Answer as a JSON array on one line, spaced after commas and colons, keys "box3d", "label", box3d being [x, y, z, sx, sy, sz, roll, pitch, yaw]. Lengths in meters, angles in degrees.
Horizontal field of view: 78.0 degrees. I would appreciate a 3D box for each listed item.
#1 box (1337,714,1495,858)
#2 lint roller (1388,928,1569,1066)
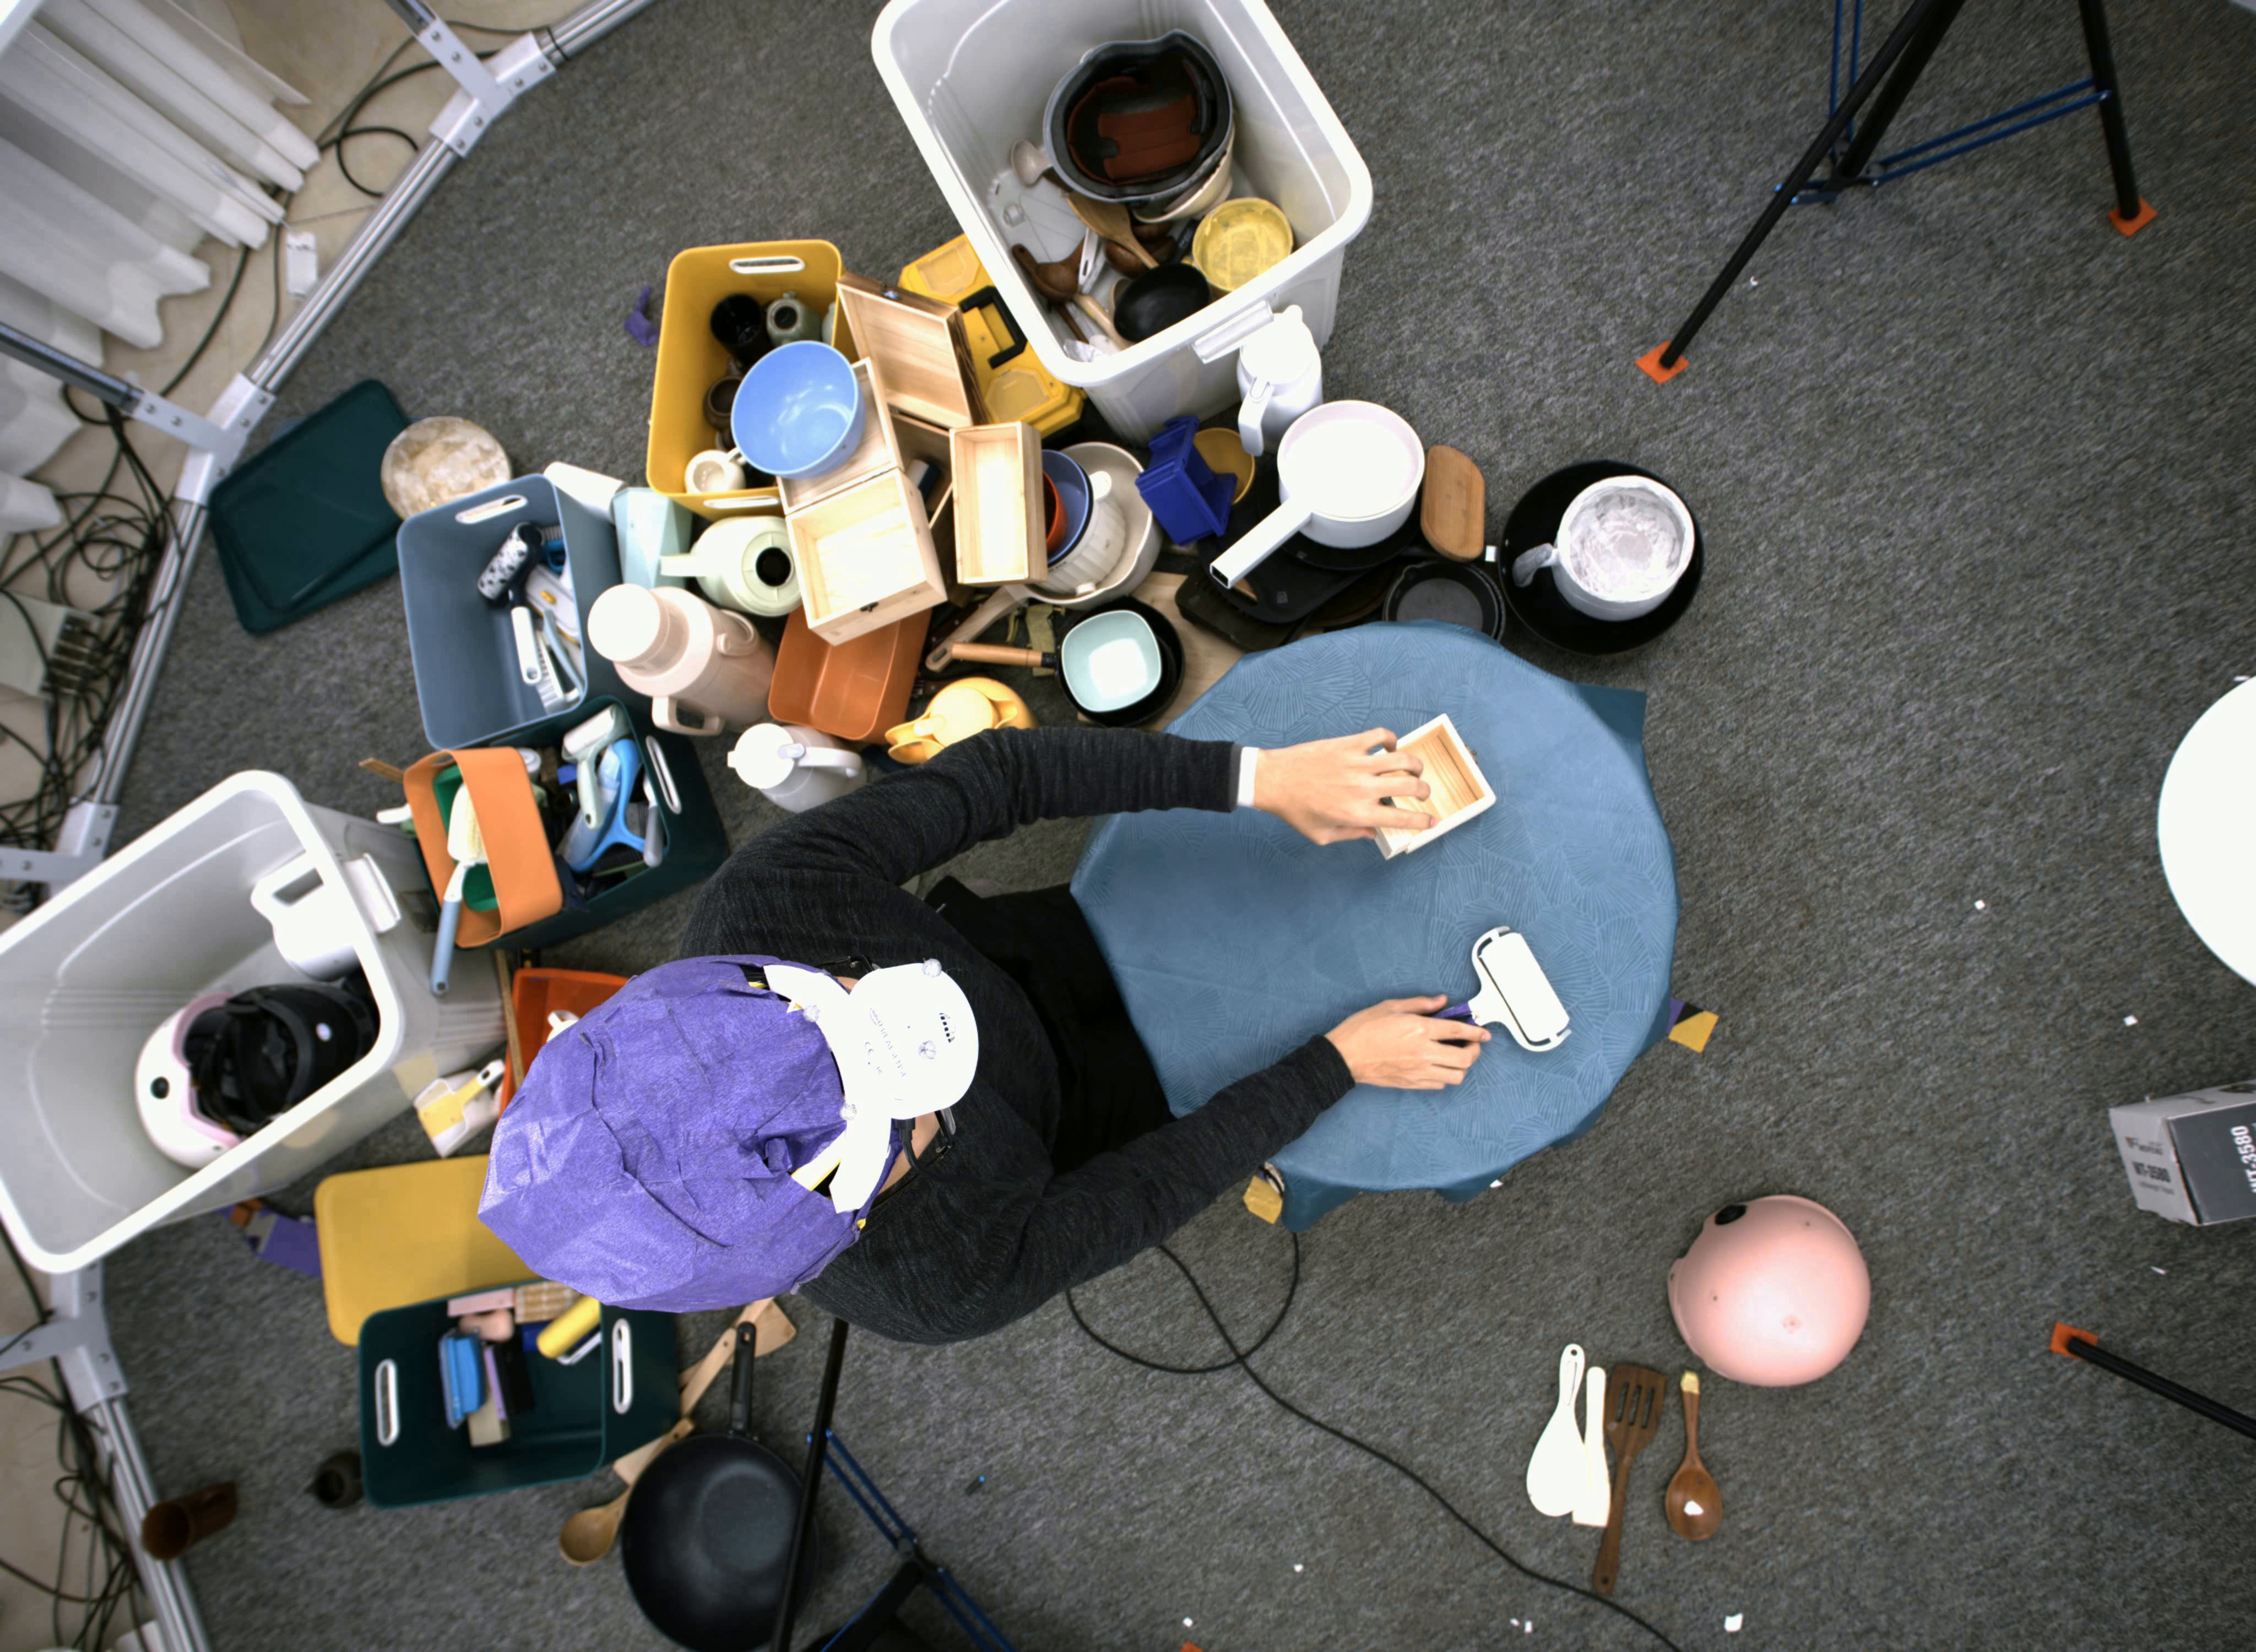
[{"box3d": [0.290, -0.045, 1.370, 0.134, 0.184, 0.102, -30, 80, 7], "label": "box"}, {"box3d": [0.347, 0.193, 1.415, 0.181, 0.050, 0.132, -28, 83, 6], "label": "lint roller"}]
